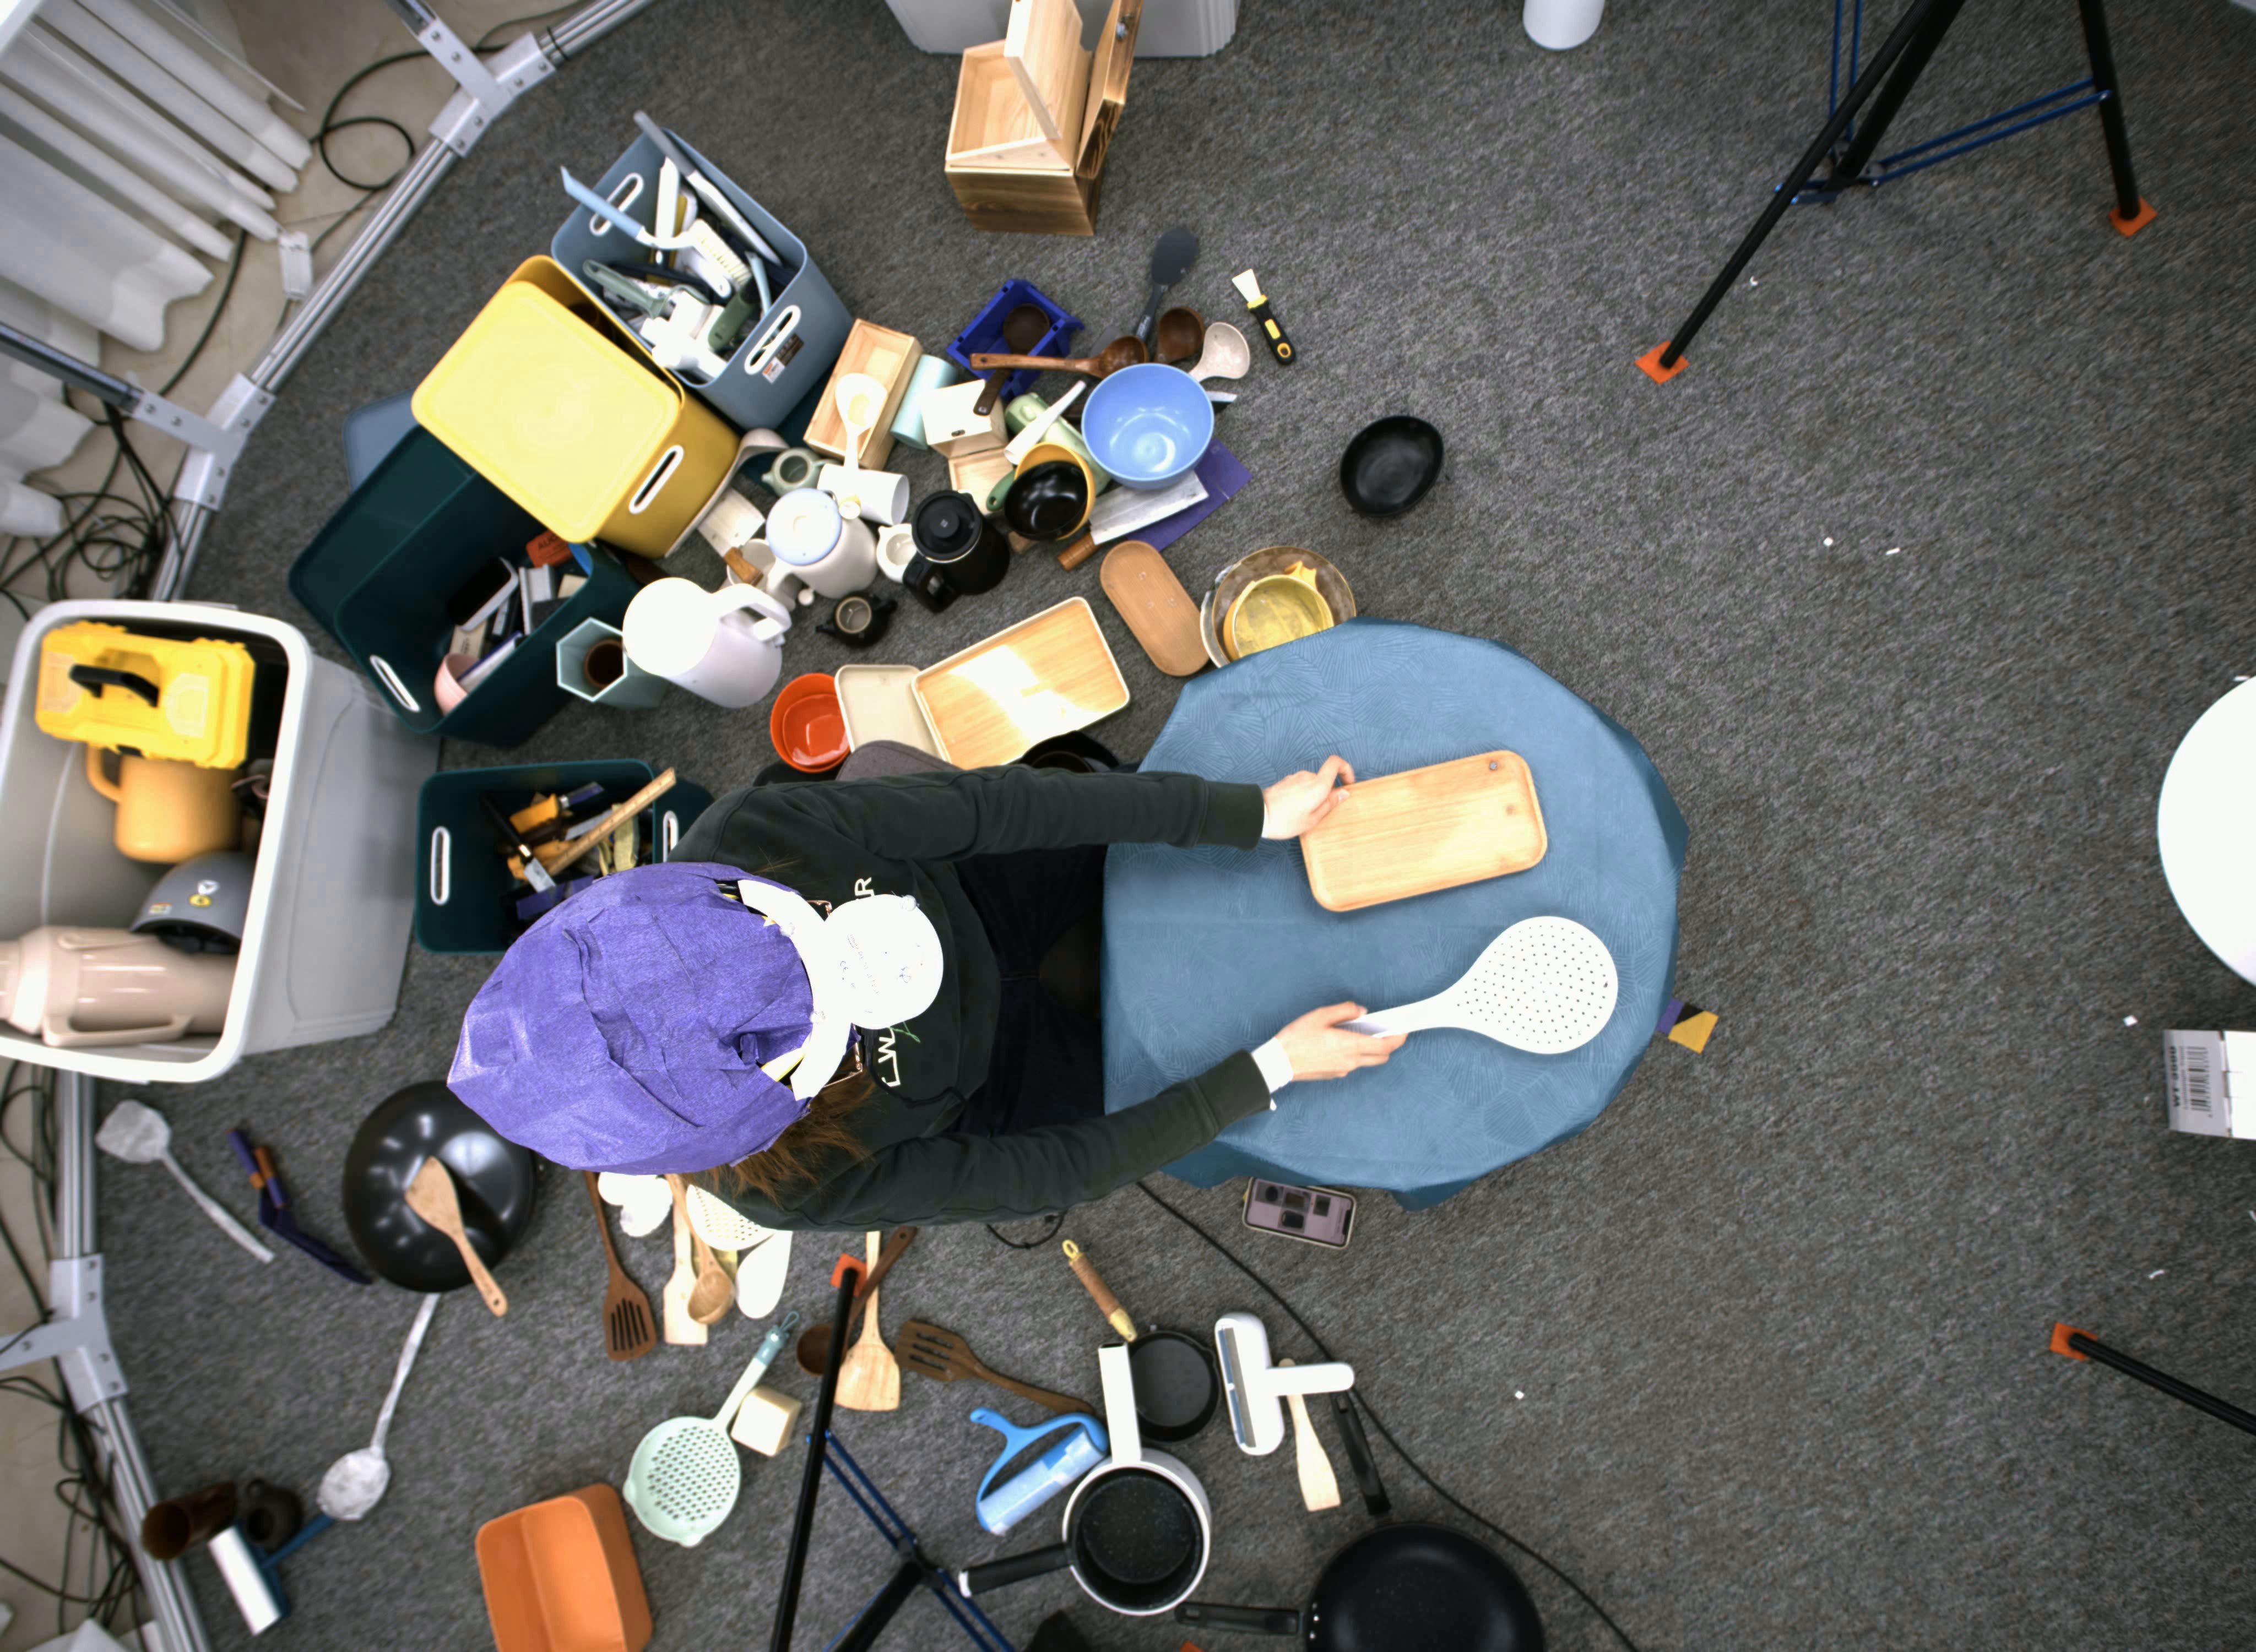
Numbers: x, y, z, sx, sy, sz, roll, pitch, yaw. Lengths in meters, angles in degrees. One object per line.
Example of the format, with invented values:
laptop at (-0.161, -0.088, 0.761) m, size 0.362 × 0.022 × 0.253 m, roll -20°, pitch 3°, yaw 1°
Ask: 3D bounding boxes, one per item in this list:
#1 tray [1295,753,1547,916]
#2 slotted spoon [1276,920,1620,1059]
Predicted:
tray at (0.305, 0.008, 1.438) m, size 0.251 × 0.023 × 0.130 m, roll -13°, pitch 90°, yaw 5°
slotted spoon at (0.324, 0.187, 1.411) m, size 0.351 × 0.046 × 0.135 m, roll -14°, pitch 85°, yaw 3°
